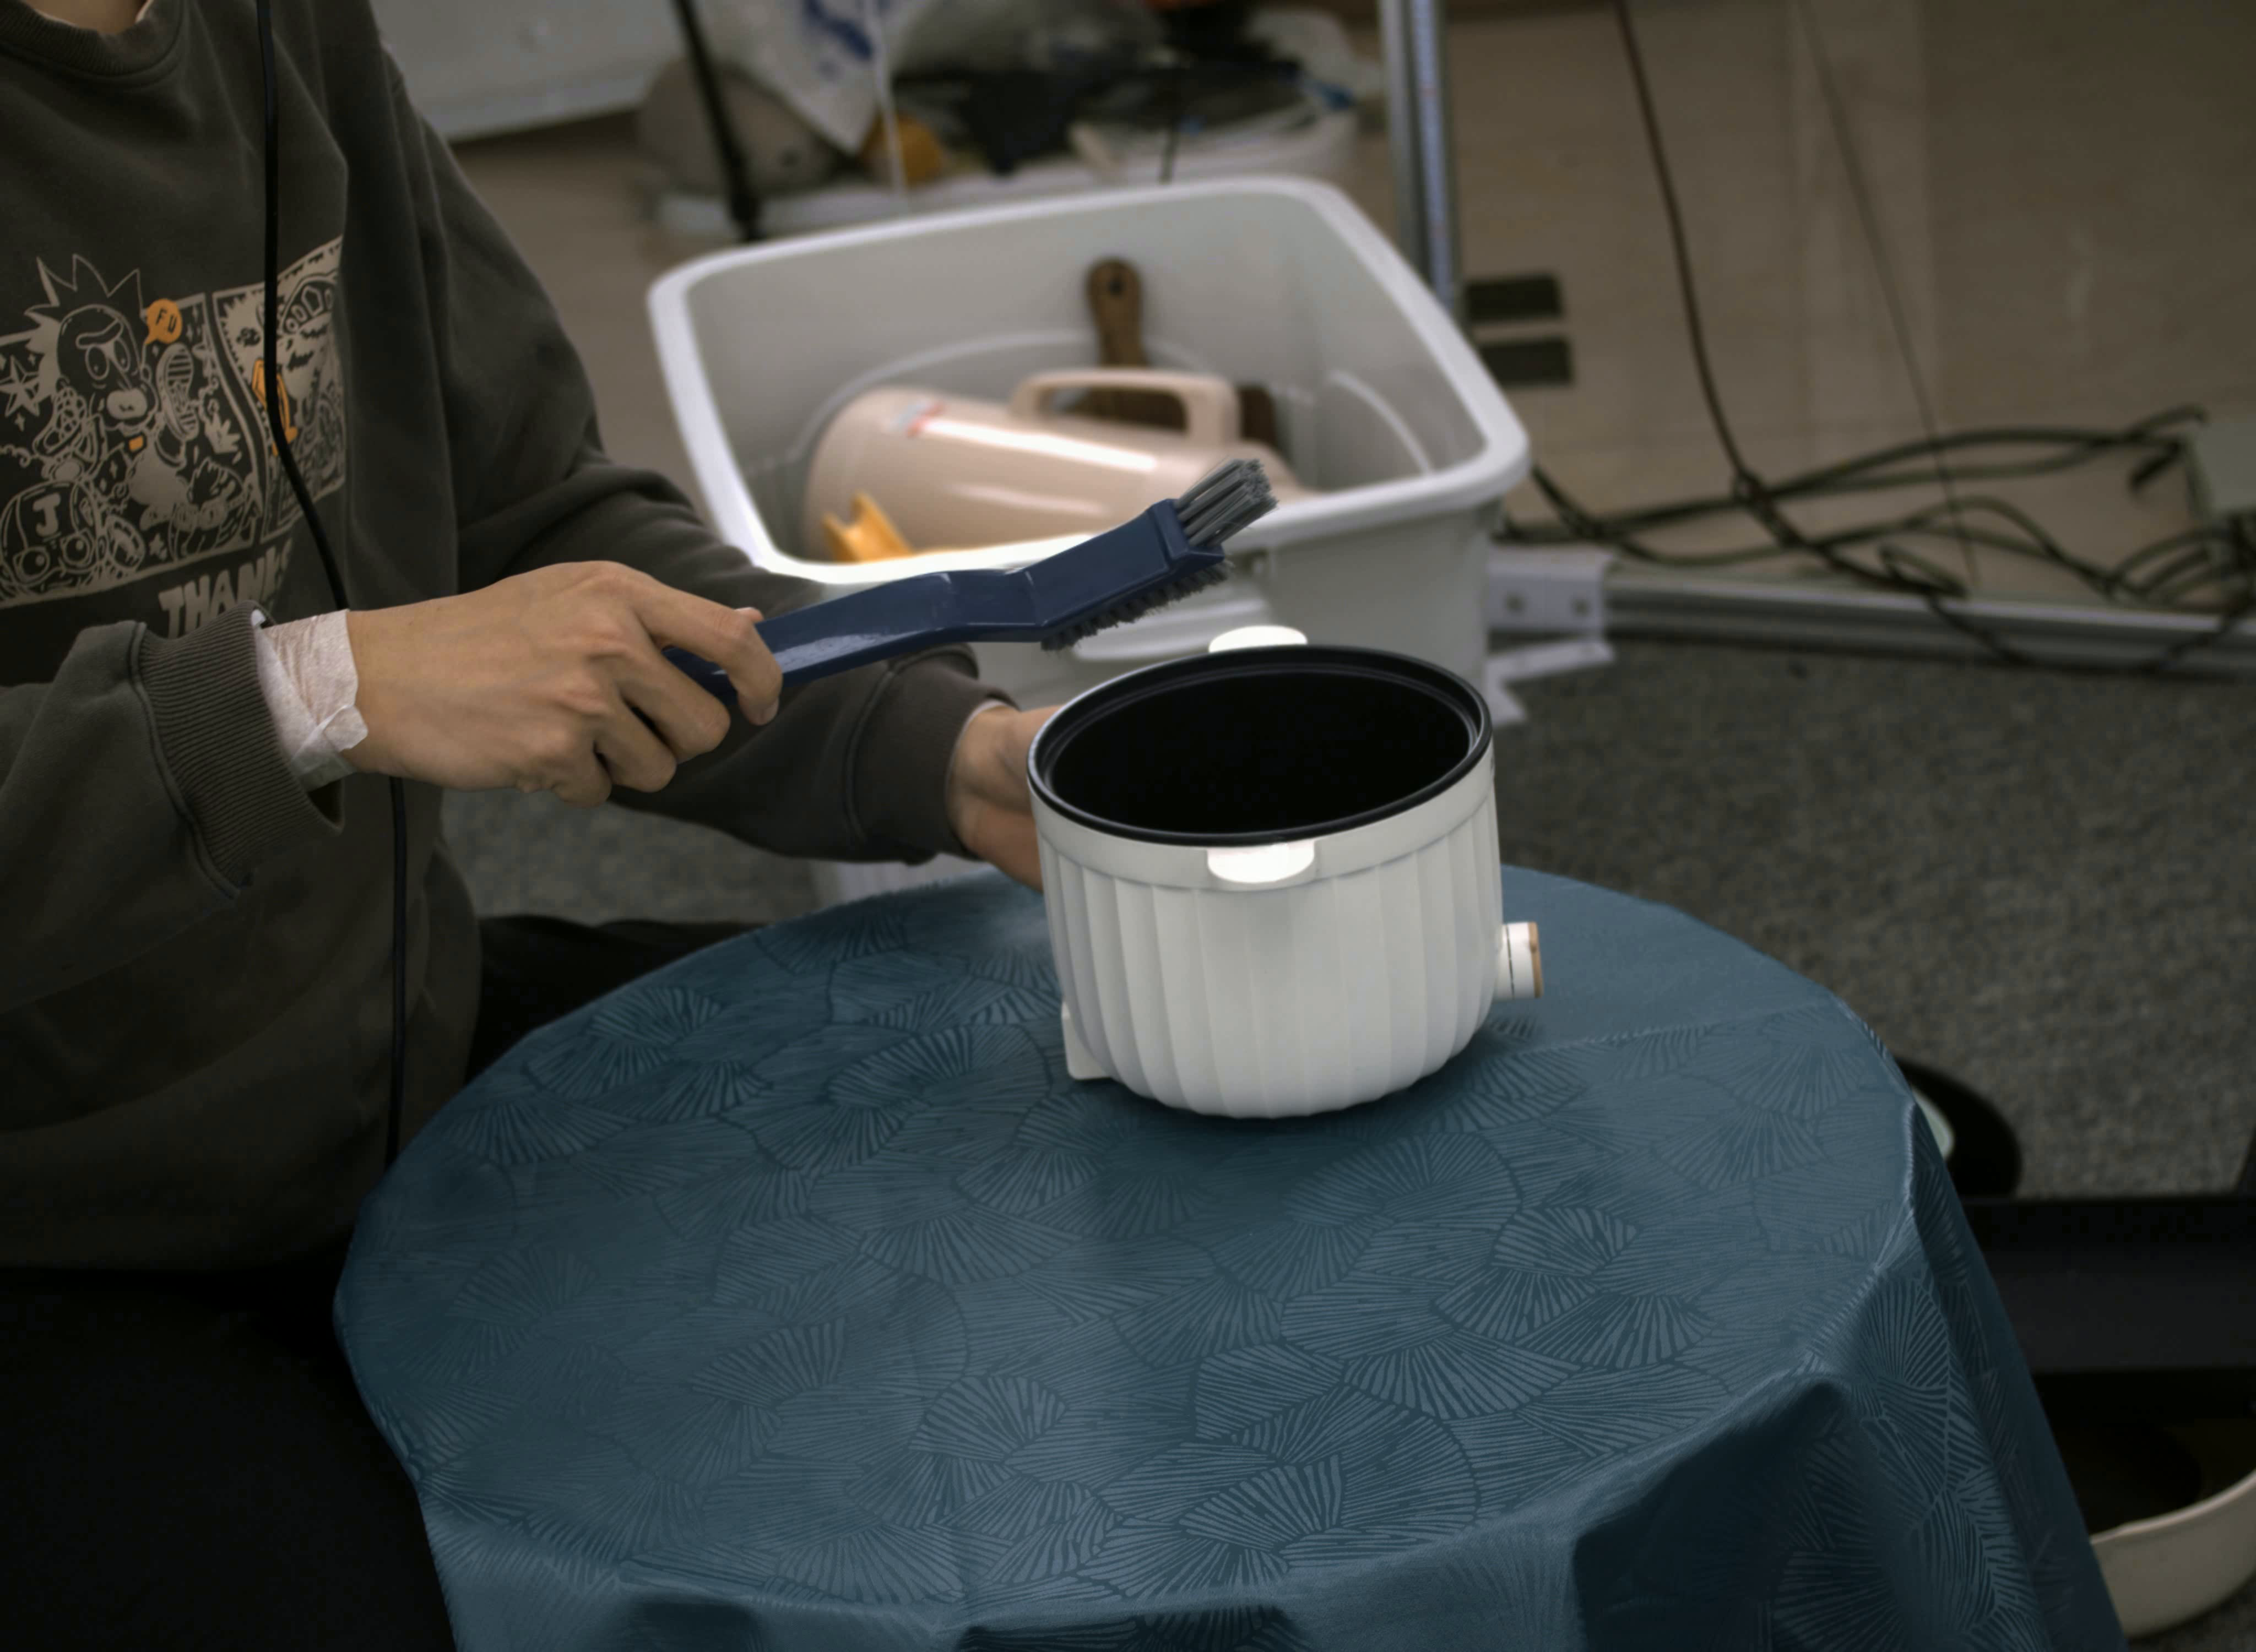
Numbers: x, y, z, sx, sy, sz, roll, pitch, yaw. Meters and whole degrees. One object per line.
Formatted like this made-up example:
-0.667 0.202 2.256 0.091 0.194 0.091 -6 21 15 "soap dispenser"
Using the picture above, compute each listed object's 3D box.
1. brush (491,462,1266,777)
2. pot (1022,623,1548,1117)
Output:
-0.088 -0.075 2.001 0.272 0.097 0.033 -14 67 -17 "brush"
0.063 0.023 2.210 0.190 0.145 0.237 -9 27 5 "pot"
